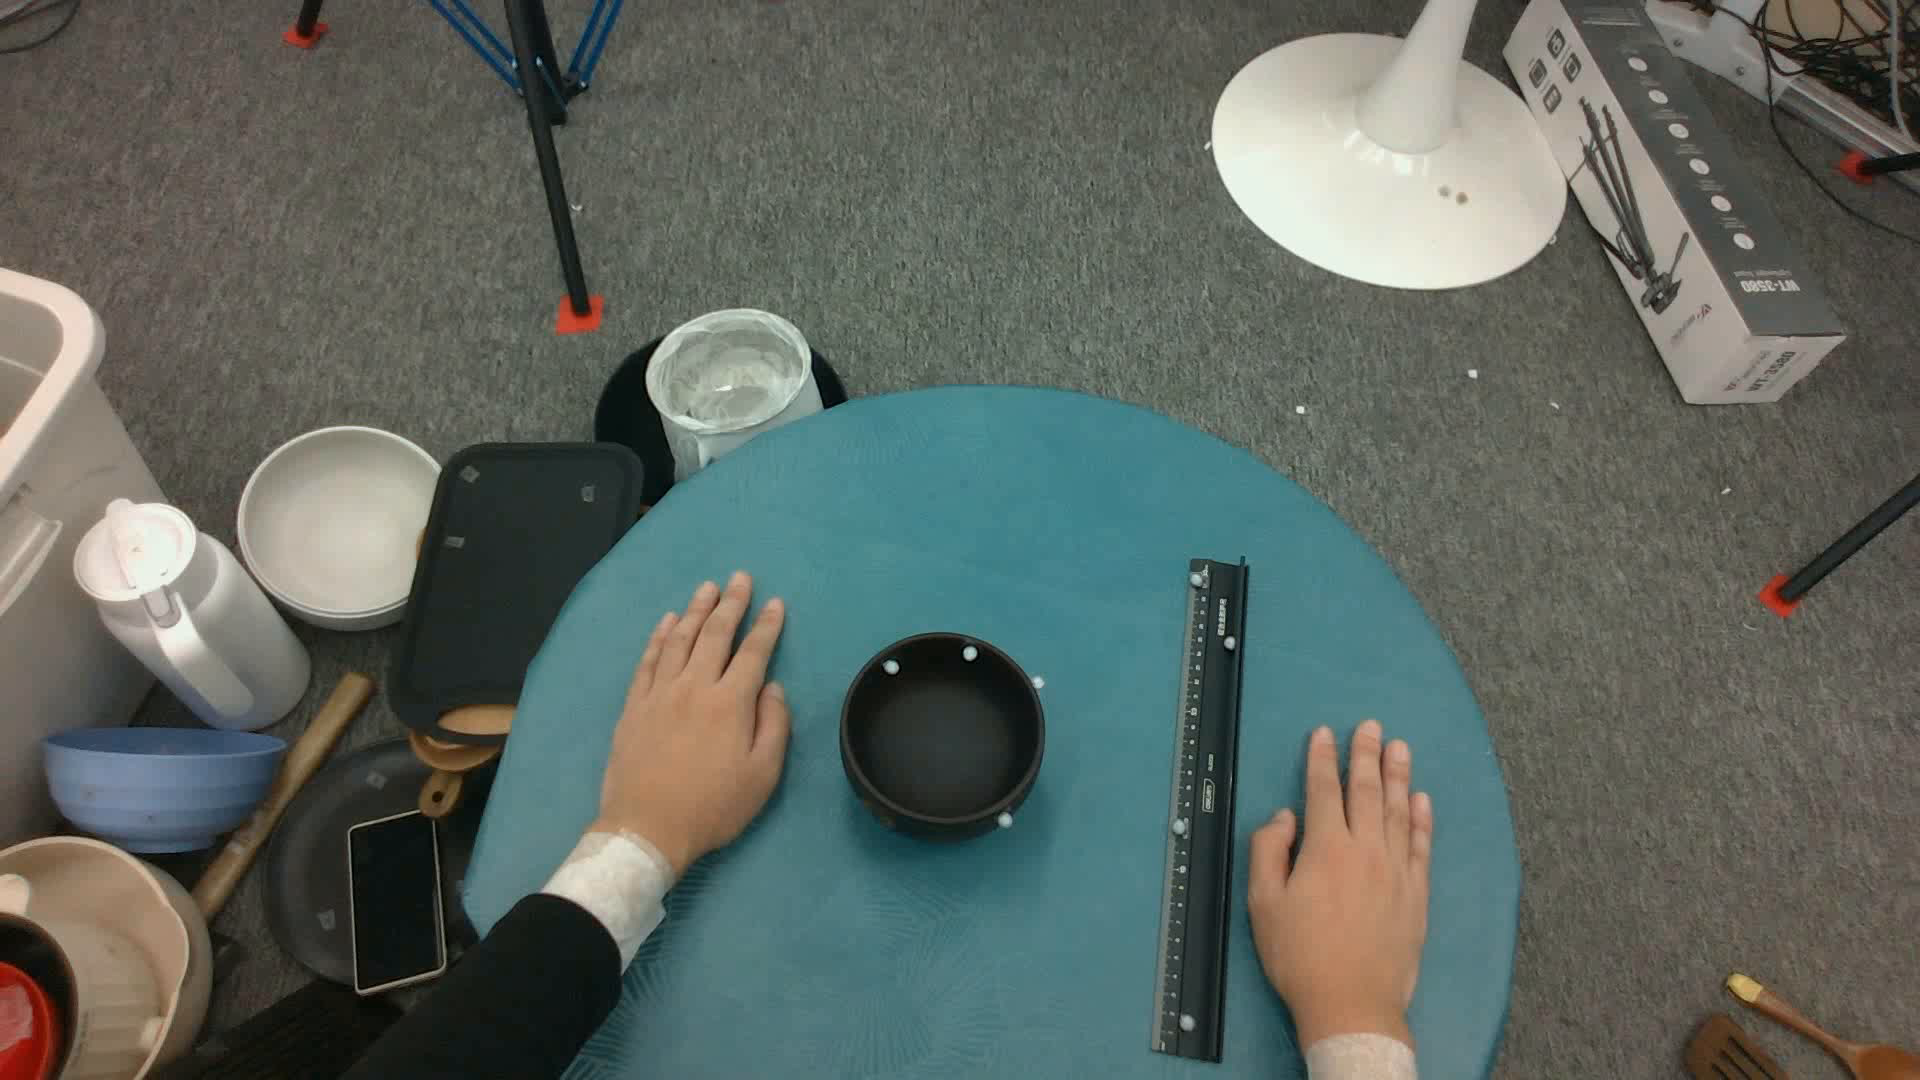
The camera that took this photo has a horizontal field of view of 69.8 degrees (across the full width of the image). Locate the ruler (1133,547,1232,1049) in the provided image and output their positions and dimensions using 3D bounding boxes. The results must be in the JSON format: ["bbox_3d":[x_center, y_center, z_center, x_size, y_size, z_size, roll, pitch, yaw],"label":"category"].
[{"bbox_3d":[0.136,0.137,0.818,0.039,0.017,0.314,8,59,4],"label":"ruler"}]

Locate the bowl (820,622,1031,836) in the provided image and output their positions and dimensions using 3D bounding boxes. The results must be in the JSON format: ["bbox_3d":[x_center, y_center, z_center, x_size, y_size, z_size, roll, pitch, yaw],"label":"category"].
[{"bbox_3d":[-0.020,0.113,0.784,0.118,0.069,0.118,2,58,-3],"label":"bowl"}]
